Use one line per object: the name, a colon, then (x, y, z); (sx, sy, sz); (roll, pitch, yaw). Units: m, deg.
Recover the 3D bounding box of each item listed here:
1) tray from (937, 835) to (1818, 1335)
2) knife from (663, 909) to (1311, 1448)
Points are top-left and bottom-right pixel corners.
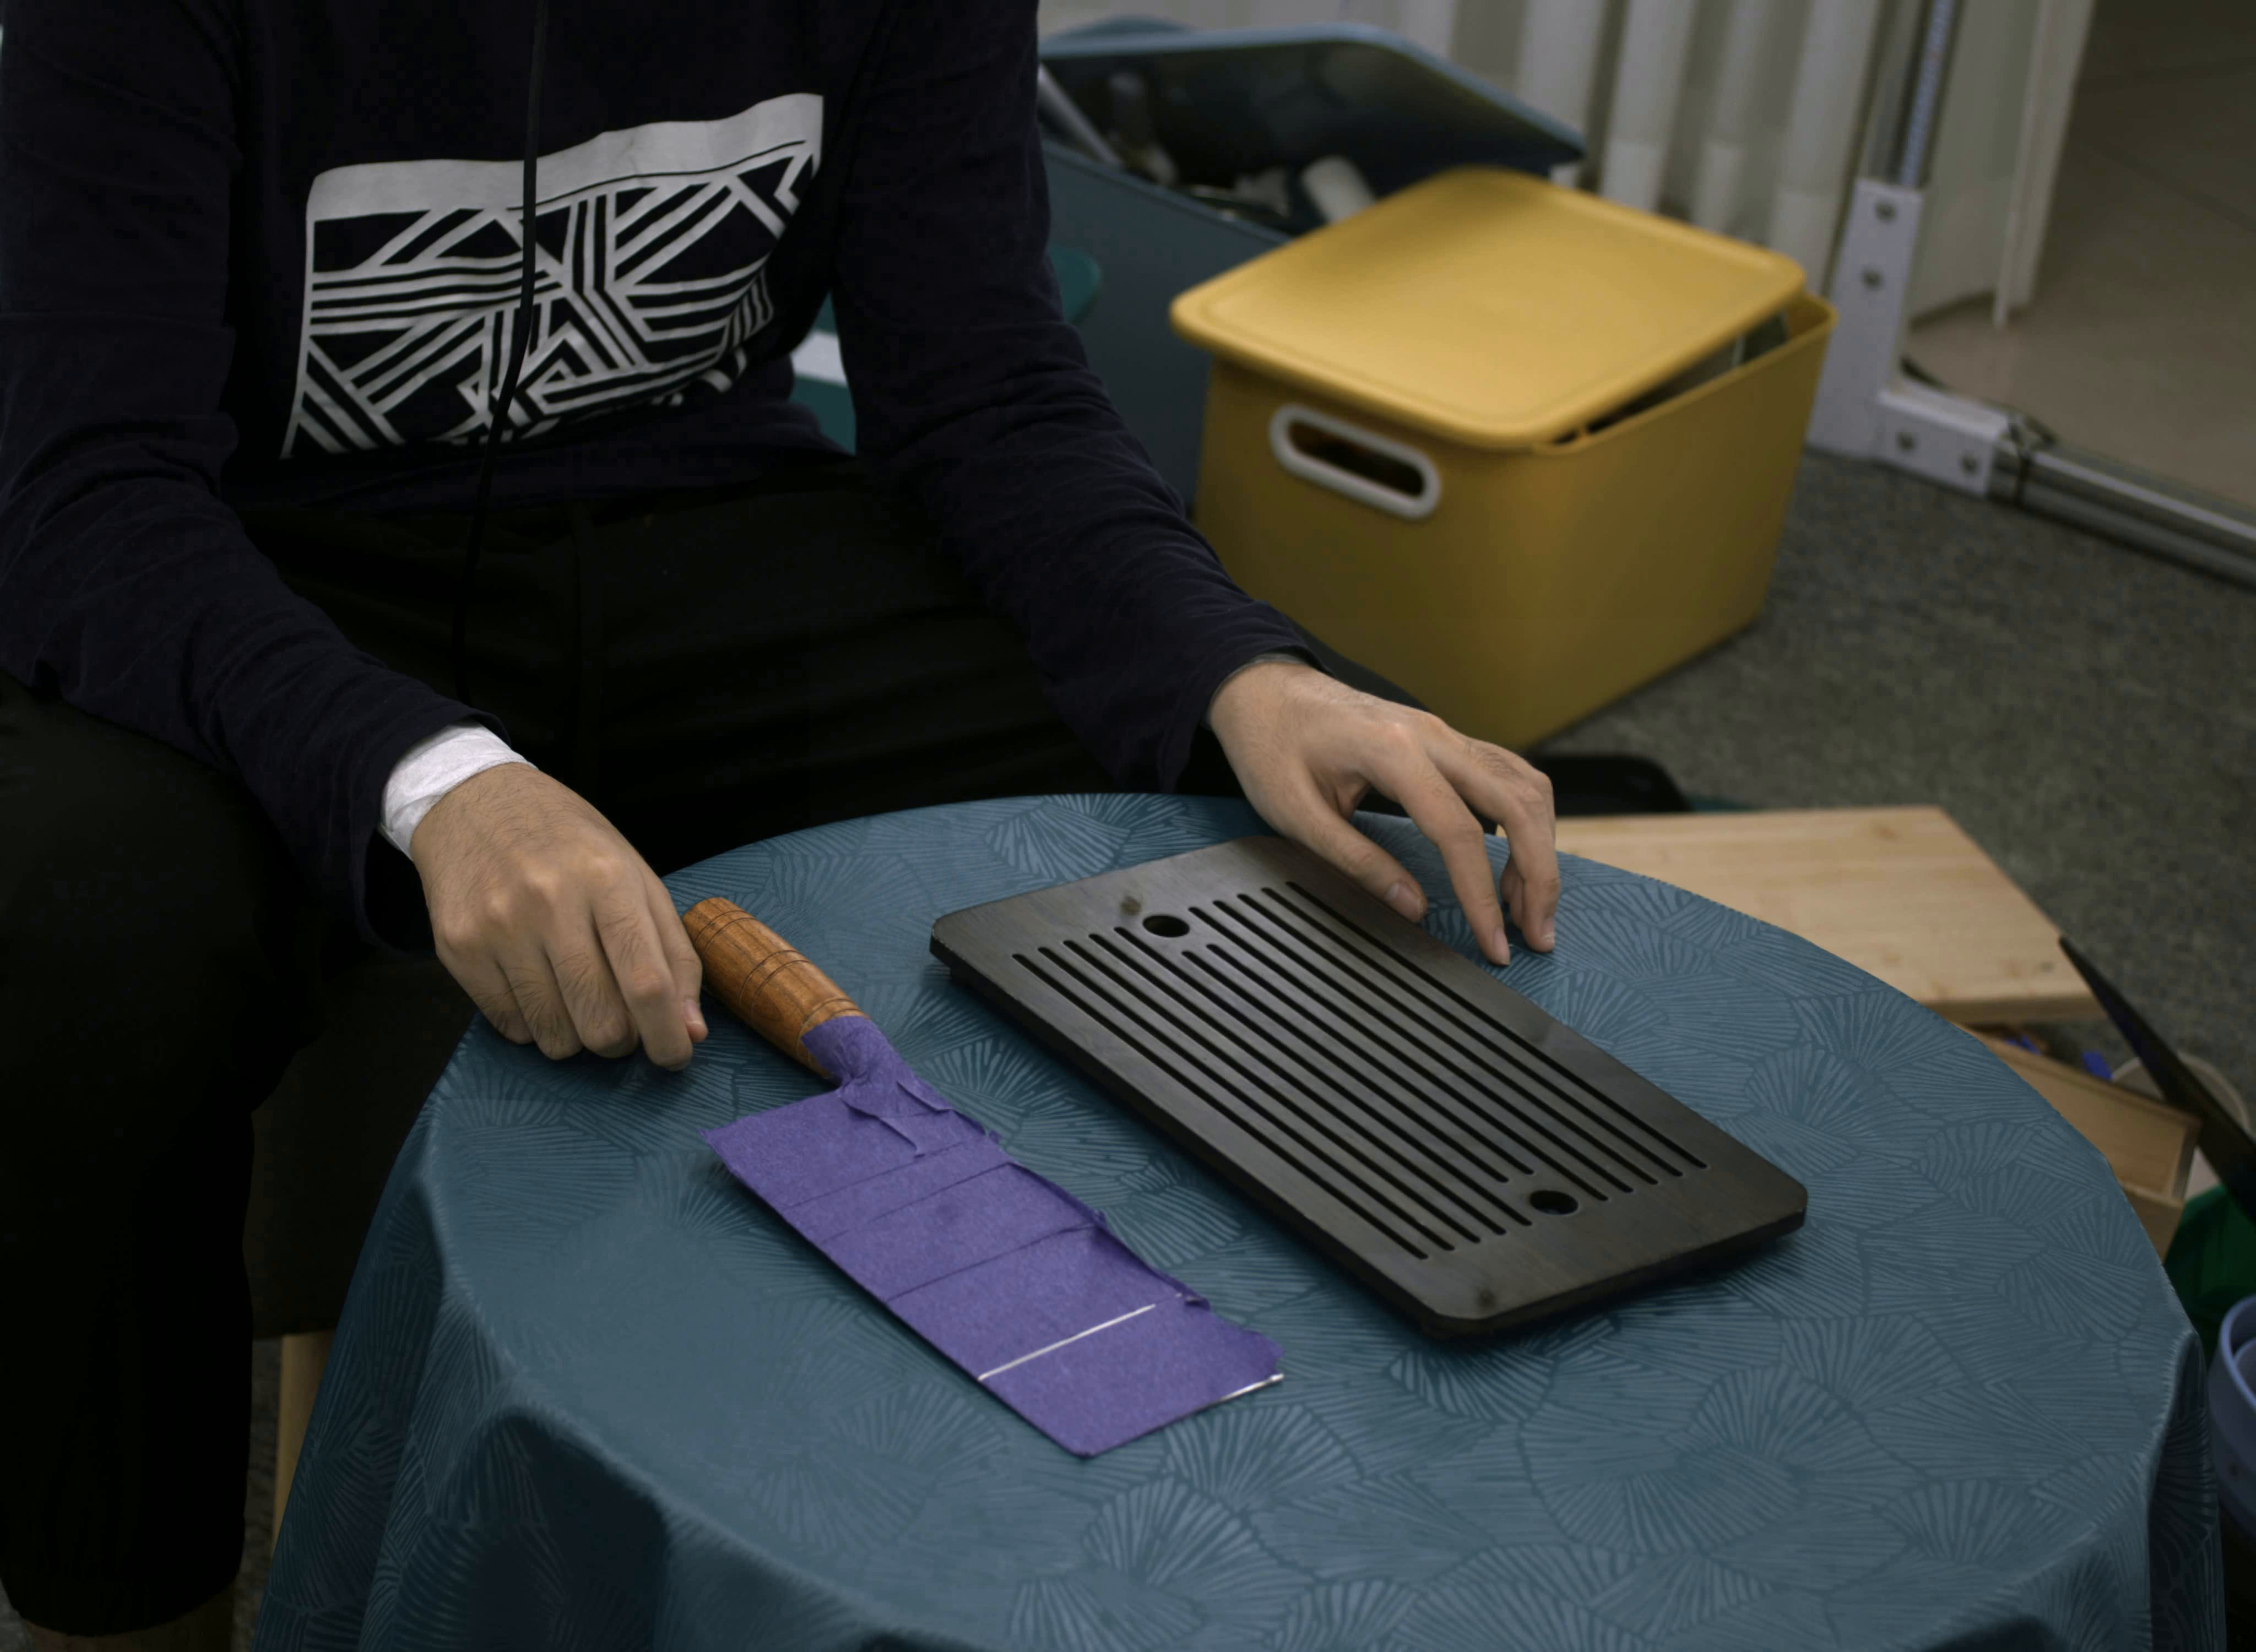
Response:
tray: (0.083, 0.088, 1.875); (0.169, 0.018, 0.308); (-14, 33, -35)
knife: (-0.077, 0.114, 1.779); (0.103, 0.032, 0.318); (-16, 35, -38)
